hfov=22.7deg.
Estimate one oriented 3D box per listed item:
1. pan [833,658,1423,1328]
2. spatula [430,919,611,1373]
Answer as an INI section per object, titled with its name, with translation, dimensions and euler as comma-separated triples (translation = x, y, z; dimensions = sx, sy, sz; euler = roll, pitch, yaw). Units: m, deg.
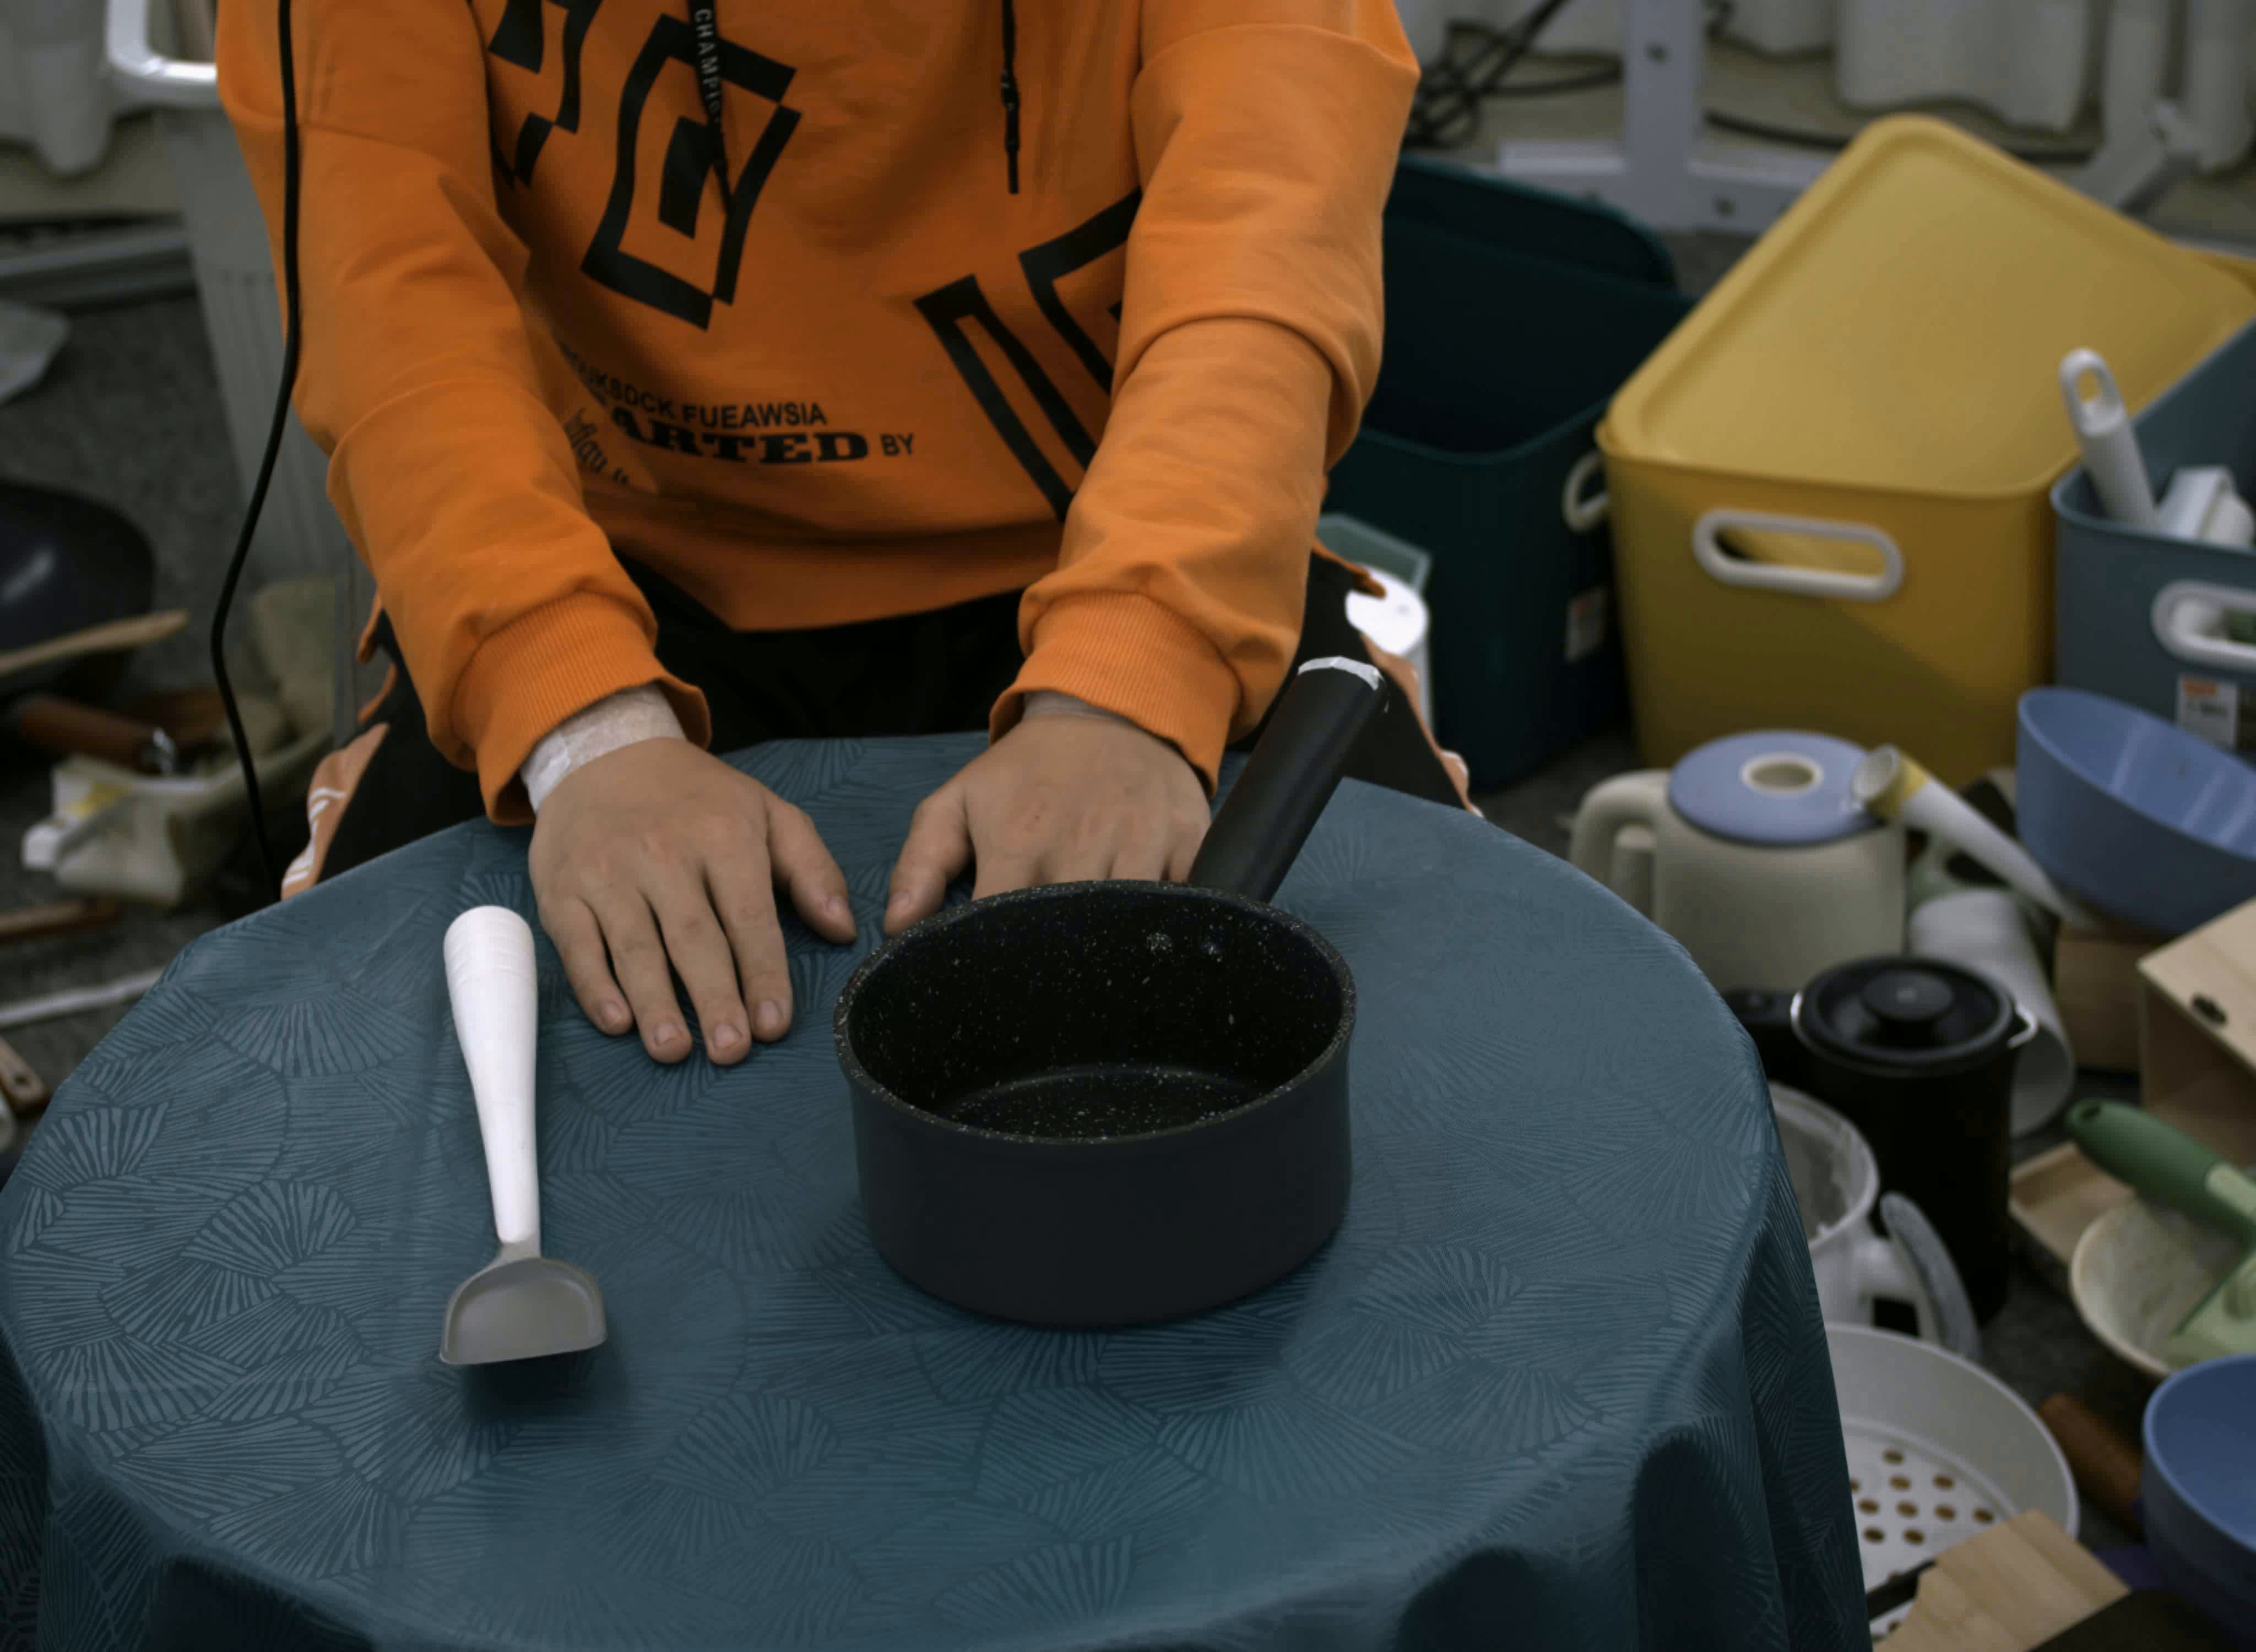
[pan]
translation = 0.023, 0.052, 1.903
dimensions = 0.171, 0.085, 0.334
euler = 10, 32, 22
[spatula]
translation = -0.207, 0.111, 1.870
dimensions = 0.058, 0.032, 0.291
euler = -2, 26, -8
